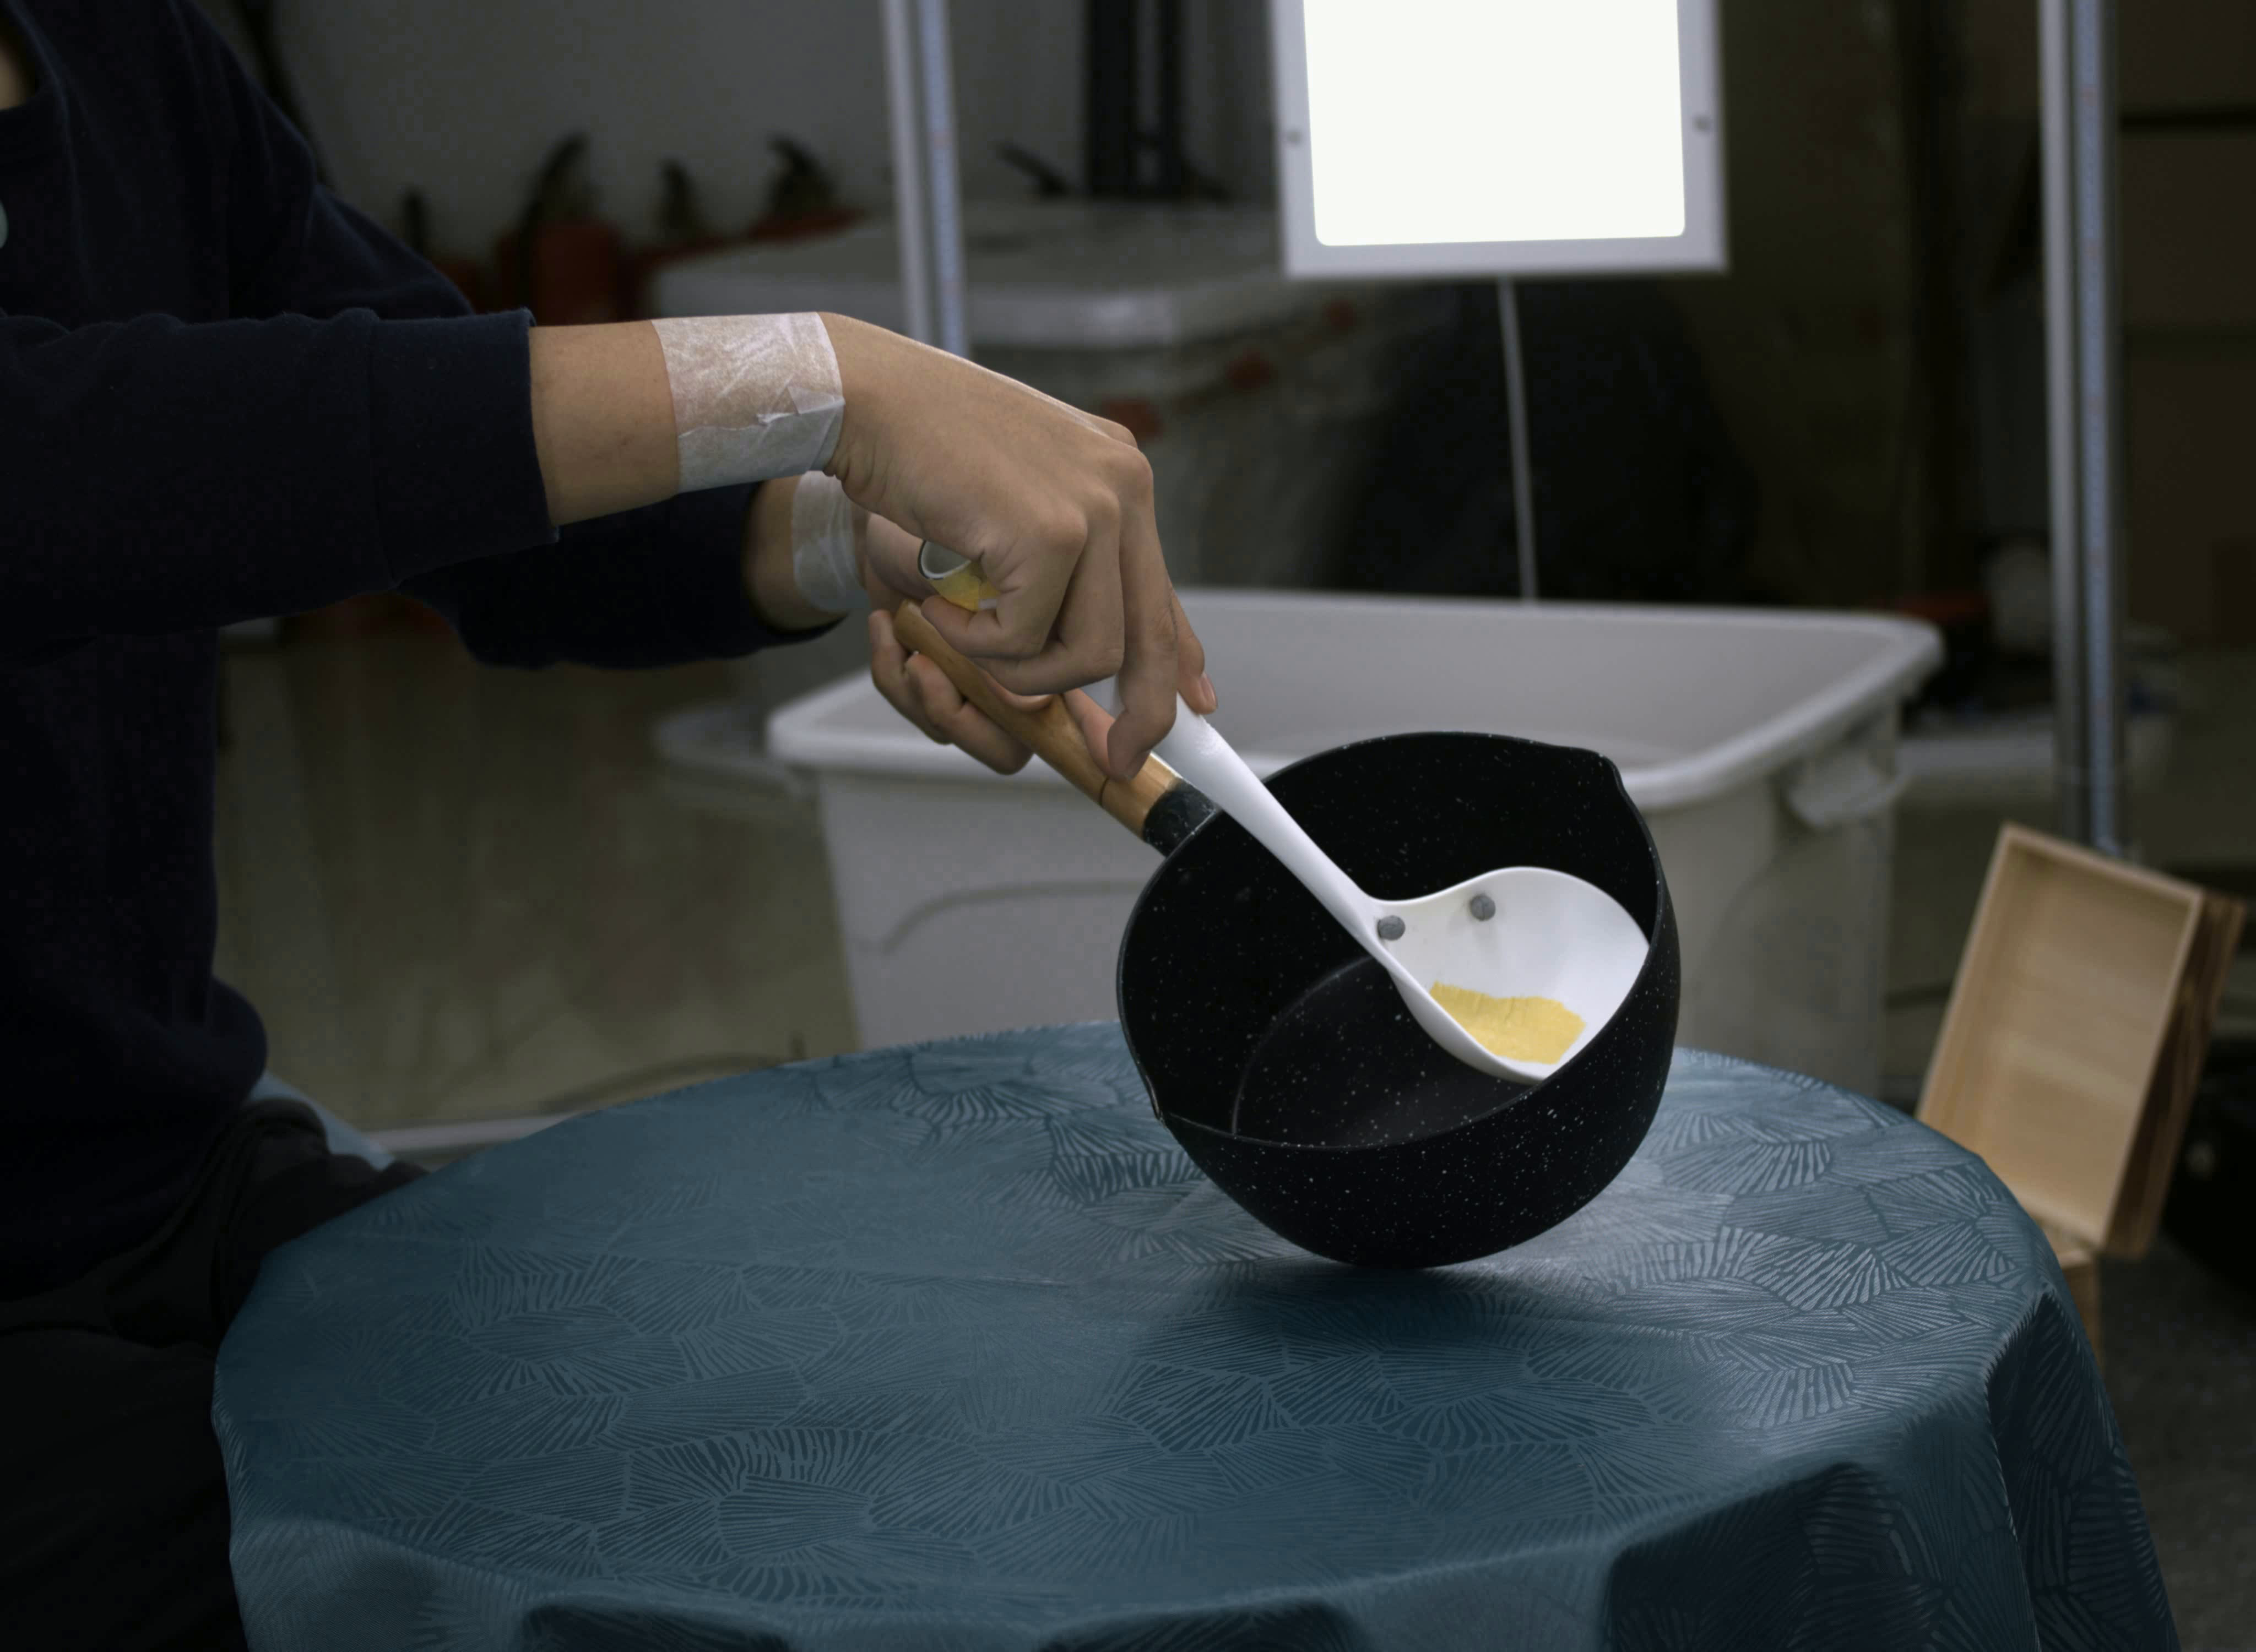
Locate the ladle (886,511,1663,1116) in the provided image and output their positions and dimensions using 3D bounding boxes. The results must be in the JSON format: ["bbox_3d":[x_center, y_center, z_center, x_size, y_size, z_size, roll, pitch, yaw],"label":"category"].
[{"bbox_3d":[0.049,-0.008,1.712,0.071,0.289,0.089,-21,40,42],"label":"ladle"}]

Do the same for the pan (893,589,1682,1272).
[{"bbox_3d":[0.041,0.023,1.859,0.205,0.108,0.348,-42,47,-17],"label":"pan"}]
